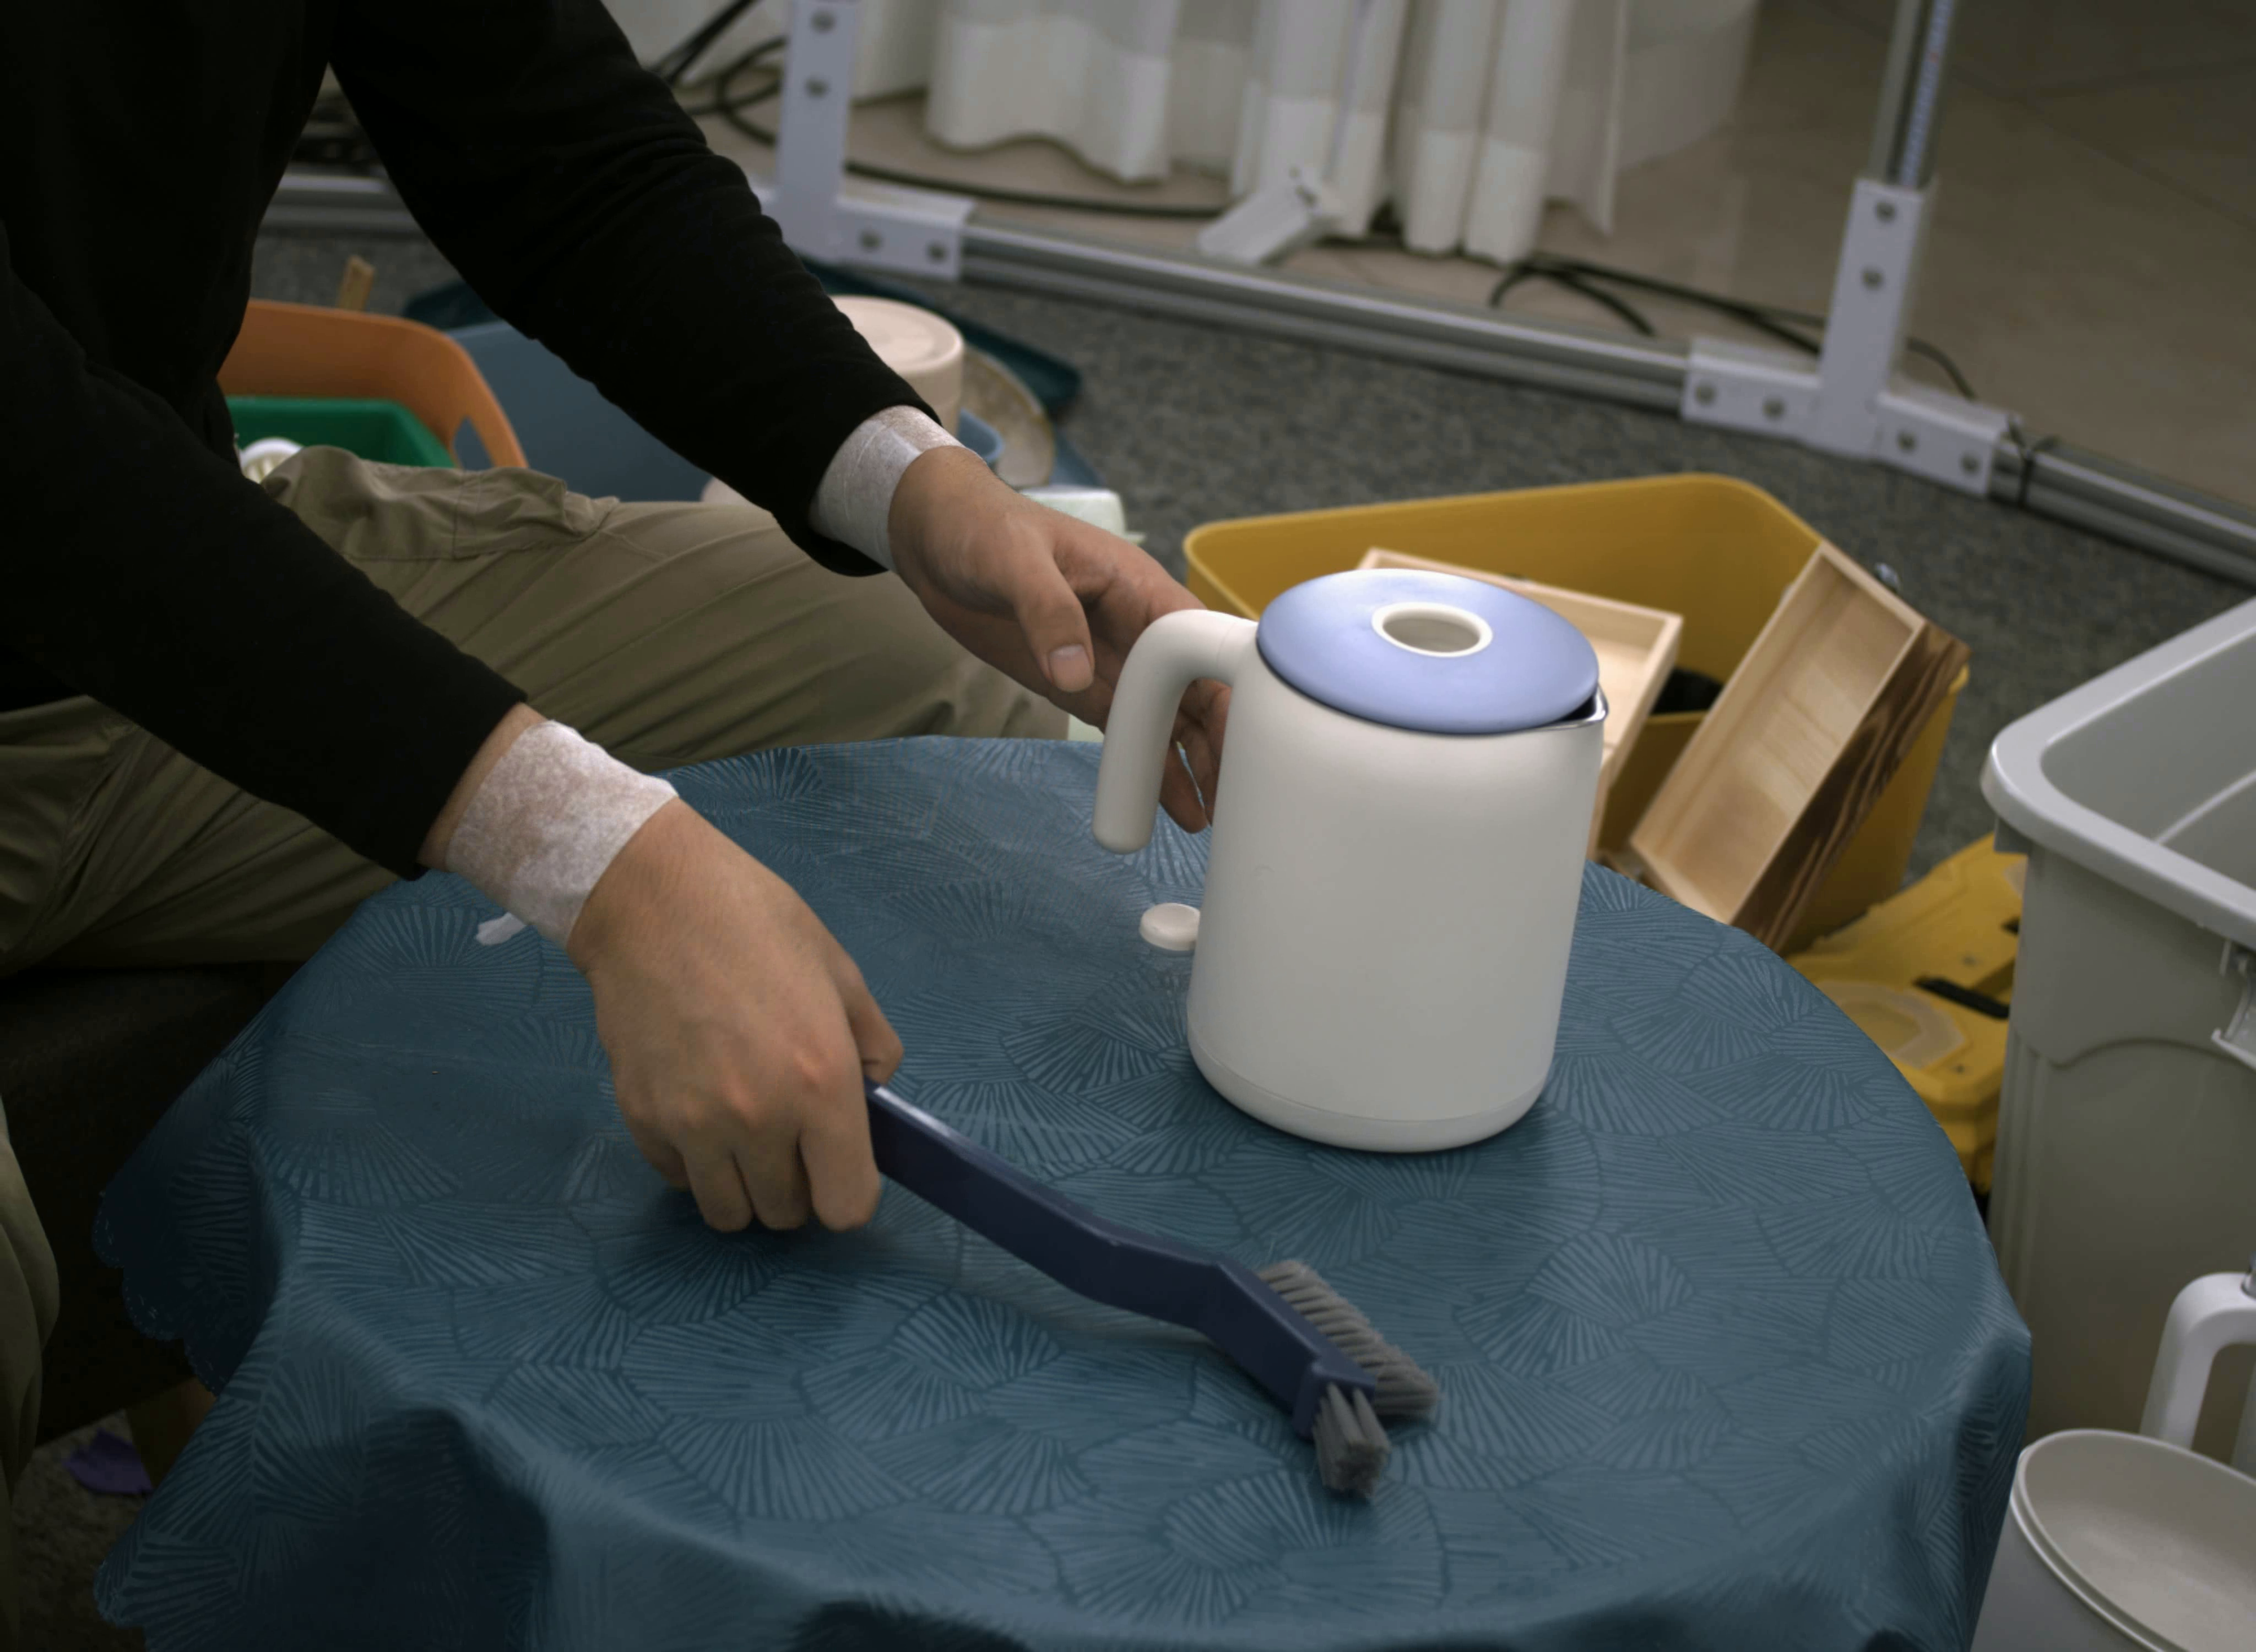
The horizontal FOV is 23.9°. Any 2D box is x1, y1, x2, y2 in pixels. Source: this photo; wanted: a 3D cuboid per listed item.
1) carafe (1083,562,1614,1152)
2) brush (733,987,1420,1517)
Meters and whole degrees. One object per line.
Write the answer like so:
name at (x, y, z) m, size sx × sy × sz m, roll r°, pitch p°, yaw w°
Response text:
carafe at (0.072, 0.003, 1.865) m, size 0.192 × 0.182 × 0.132 m, roll 18°, pitch 28°, yaw 24°
brush at (-0.029, 0.133, 1.718) m, size 0.274 × 0.033 × 0.095 m, roll 25°, pitch 32°, yaw 20°
